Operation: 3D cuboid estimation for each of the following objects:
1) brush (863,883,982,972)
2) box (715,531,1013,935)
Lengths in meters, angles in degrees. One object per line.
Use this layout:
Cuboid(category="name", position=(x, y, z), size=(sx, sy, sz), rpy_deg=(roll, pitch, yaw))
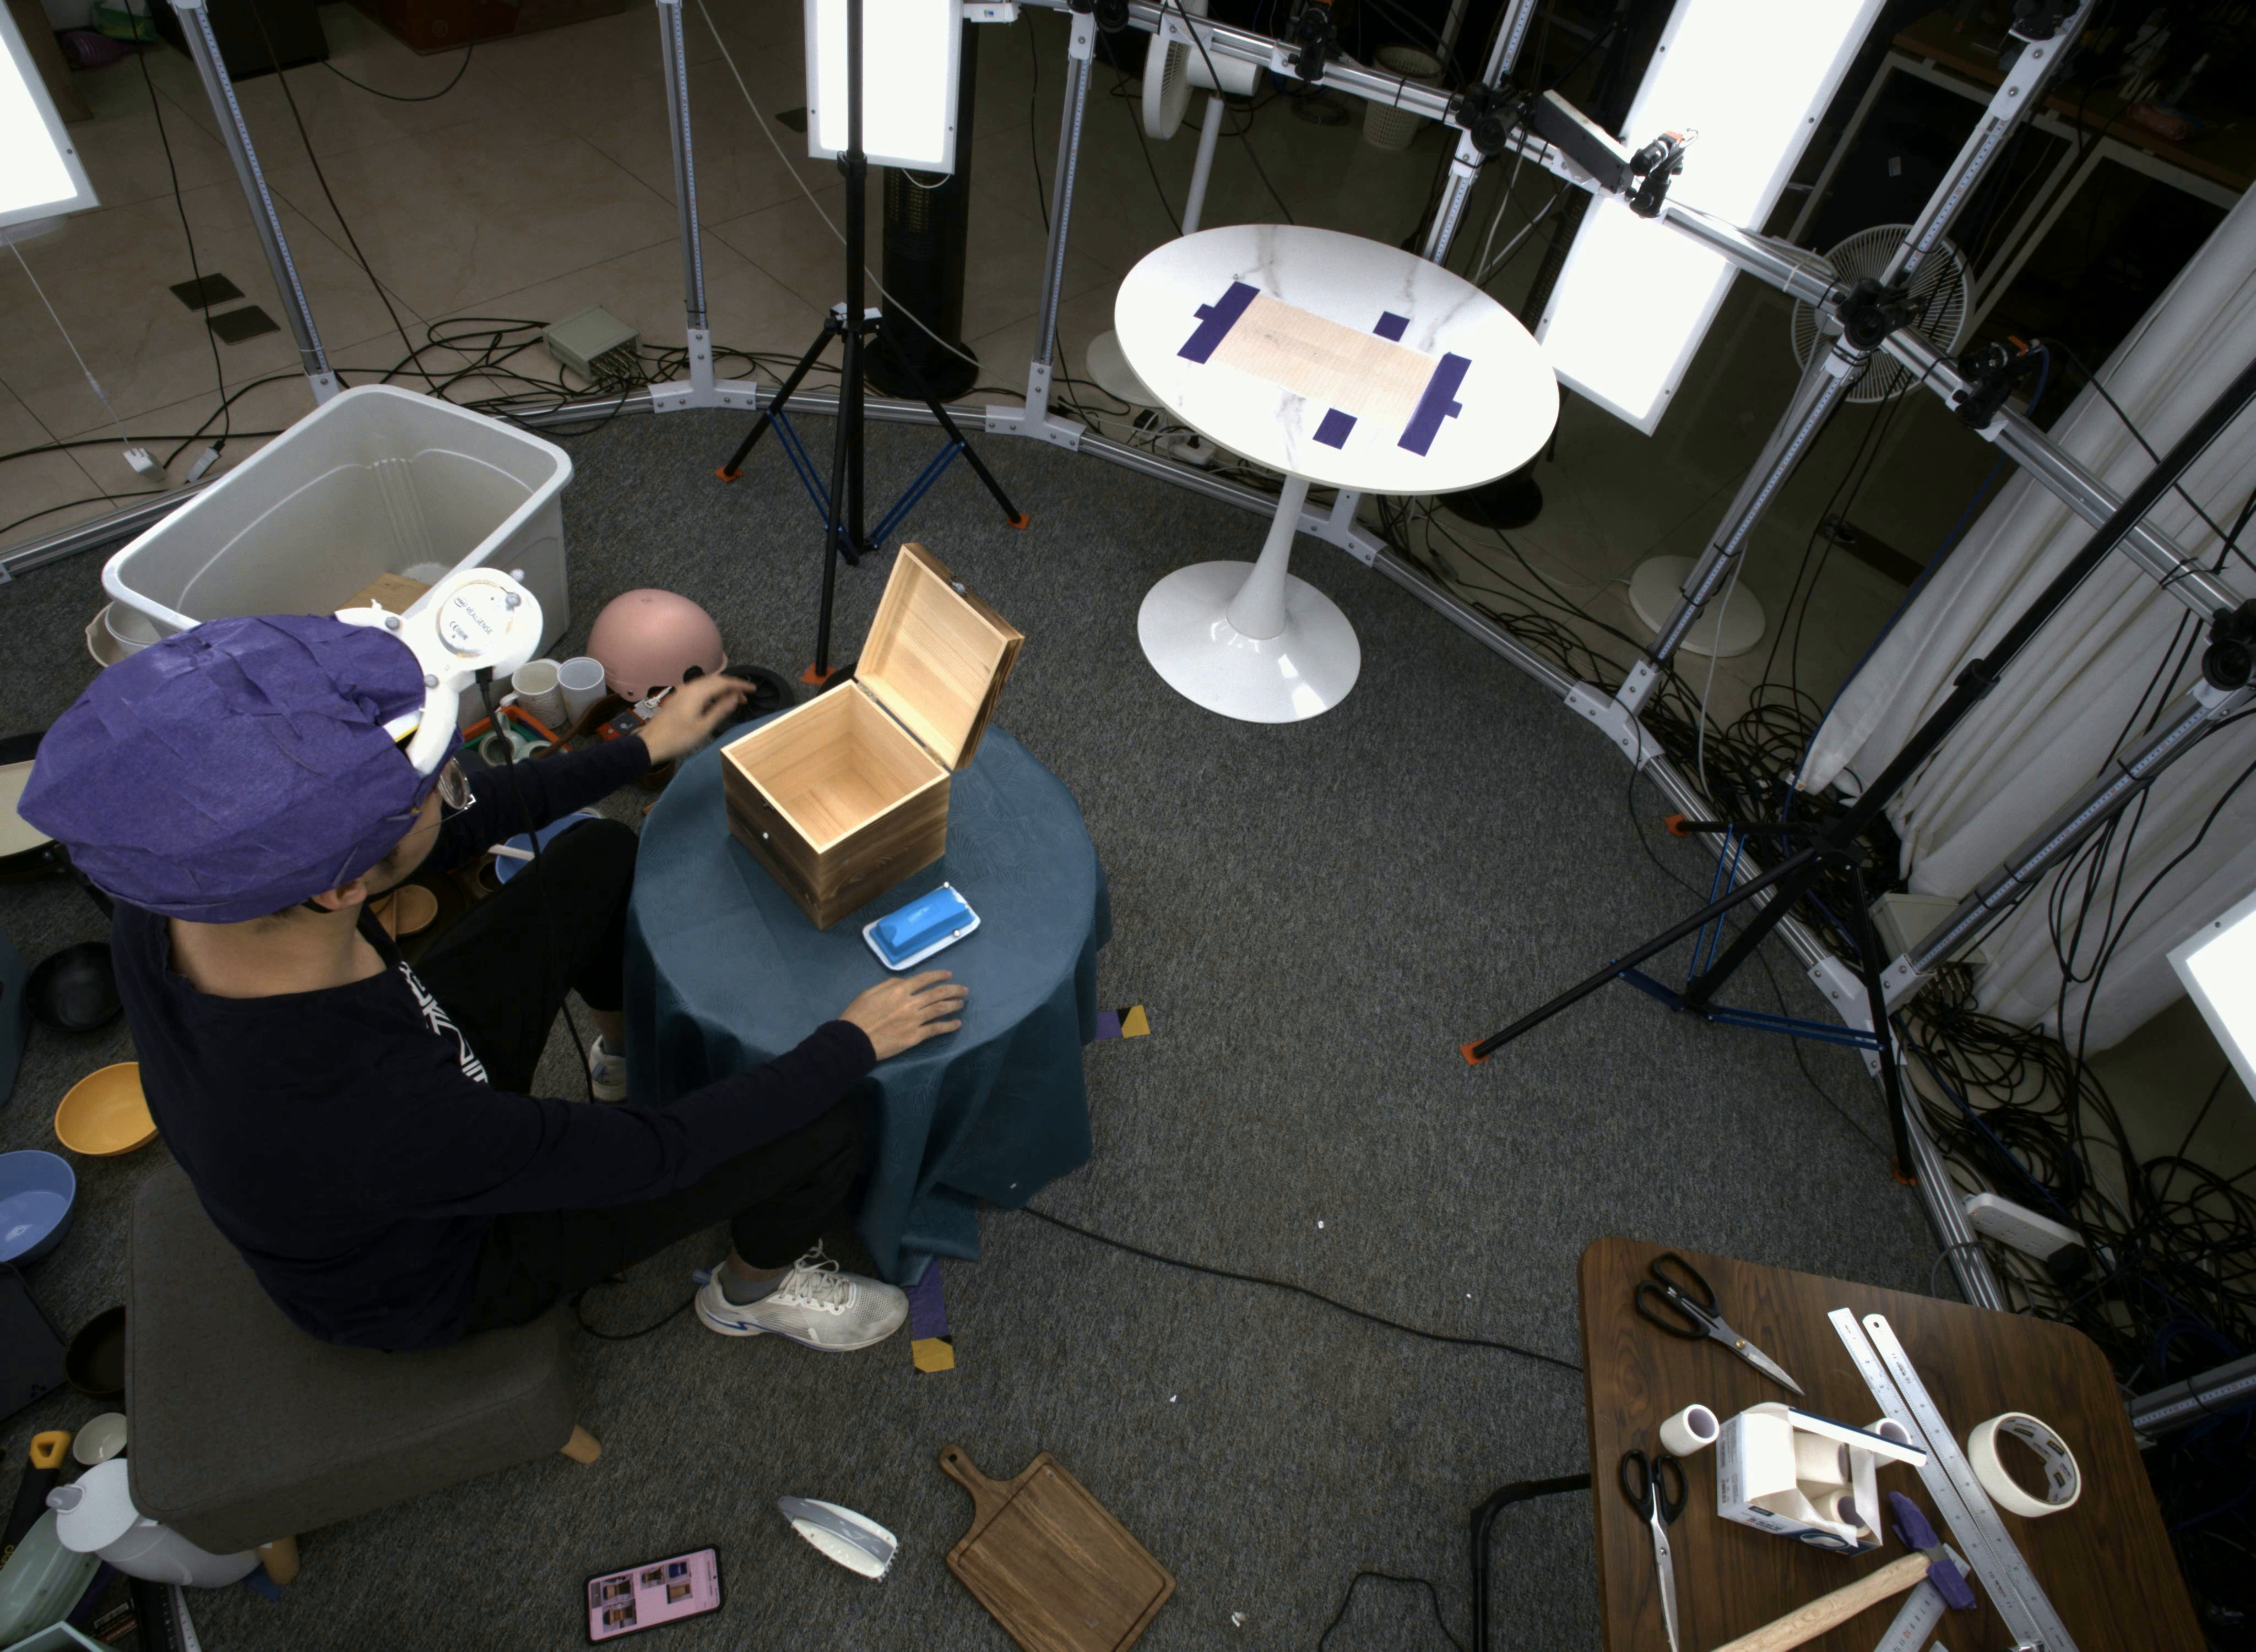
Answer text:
Cuboid(category="brush", position=(-0.257, 0.118, 1.629), size=(0.145, 0.057, 0.081), rpy_deg=(-27, 60, -34))
Cuboid(category="box", position=(-0.325, -0.116, 1.604), size=(0.204, 0.384, 0.323), rpy_deg=(41, 56, 20))
